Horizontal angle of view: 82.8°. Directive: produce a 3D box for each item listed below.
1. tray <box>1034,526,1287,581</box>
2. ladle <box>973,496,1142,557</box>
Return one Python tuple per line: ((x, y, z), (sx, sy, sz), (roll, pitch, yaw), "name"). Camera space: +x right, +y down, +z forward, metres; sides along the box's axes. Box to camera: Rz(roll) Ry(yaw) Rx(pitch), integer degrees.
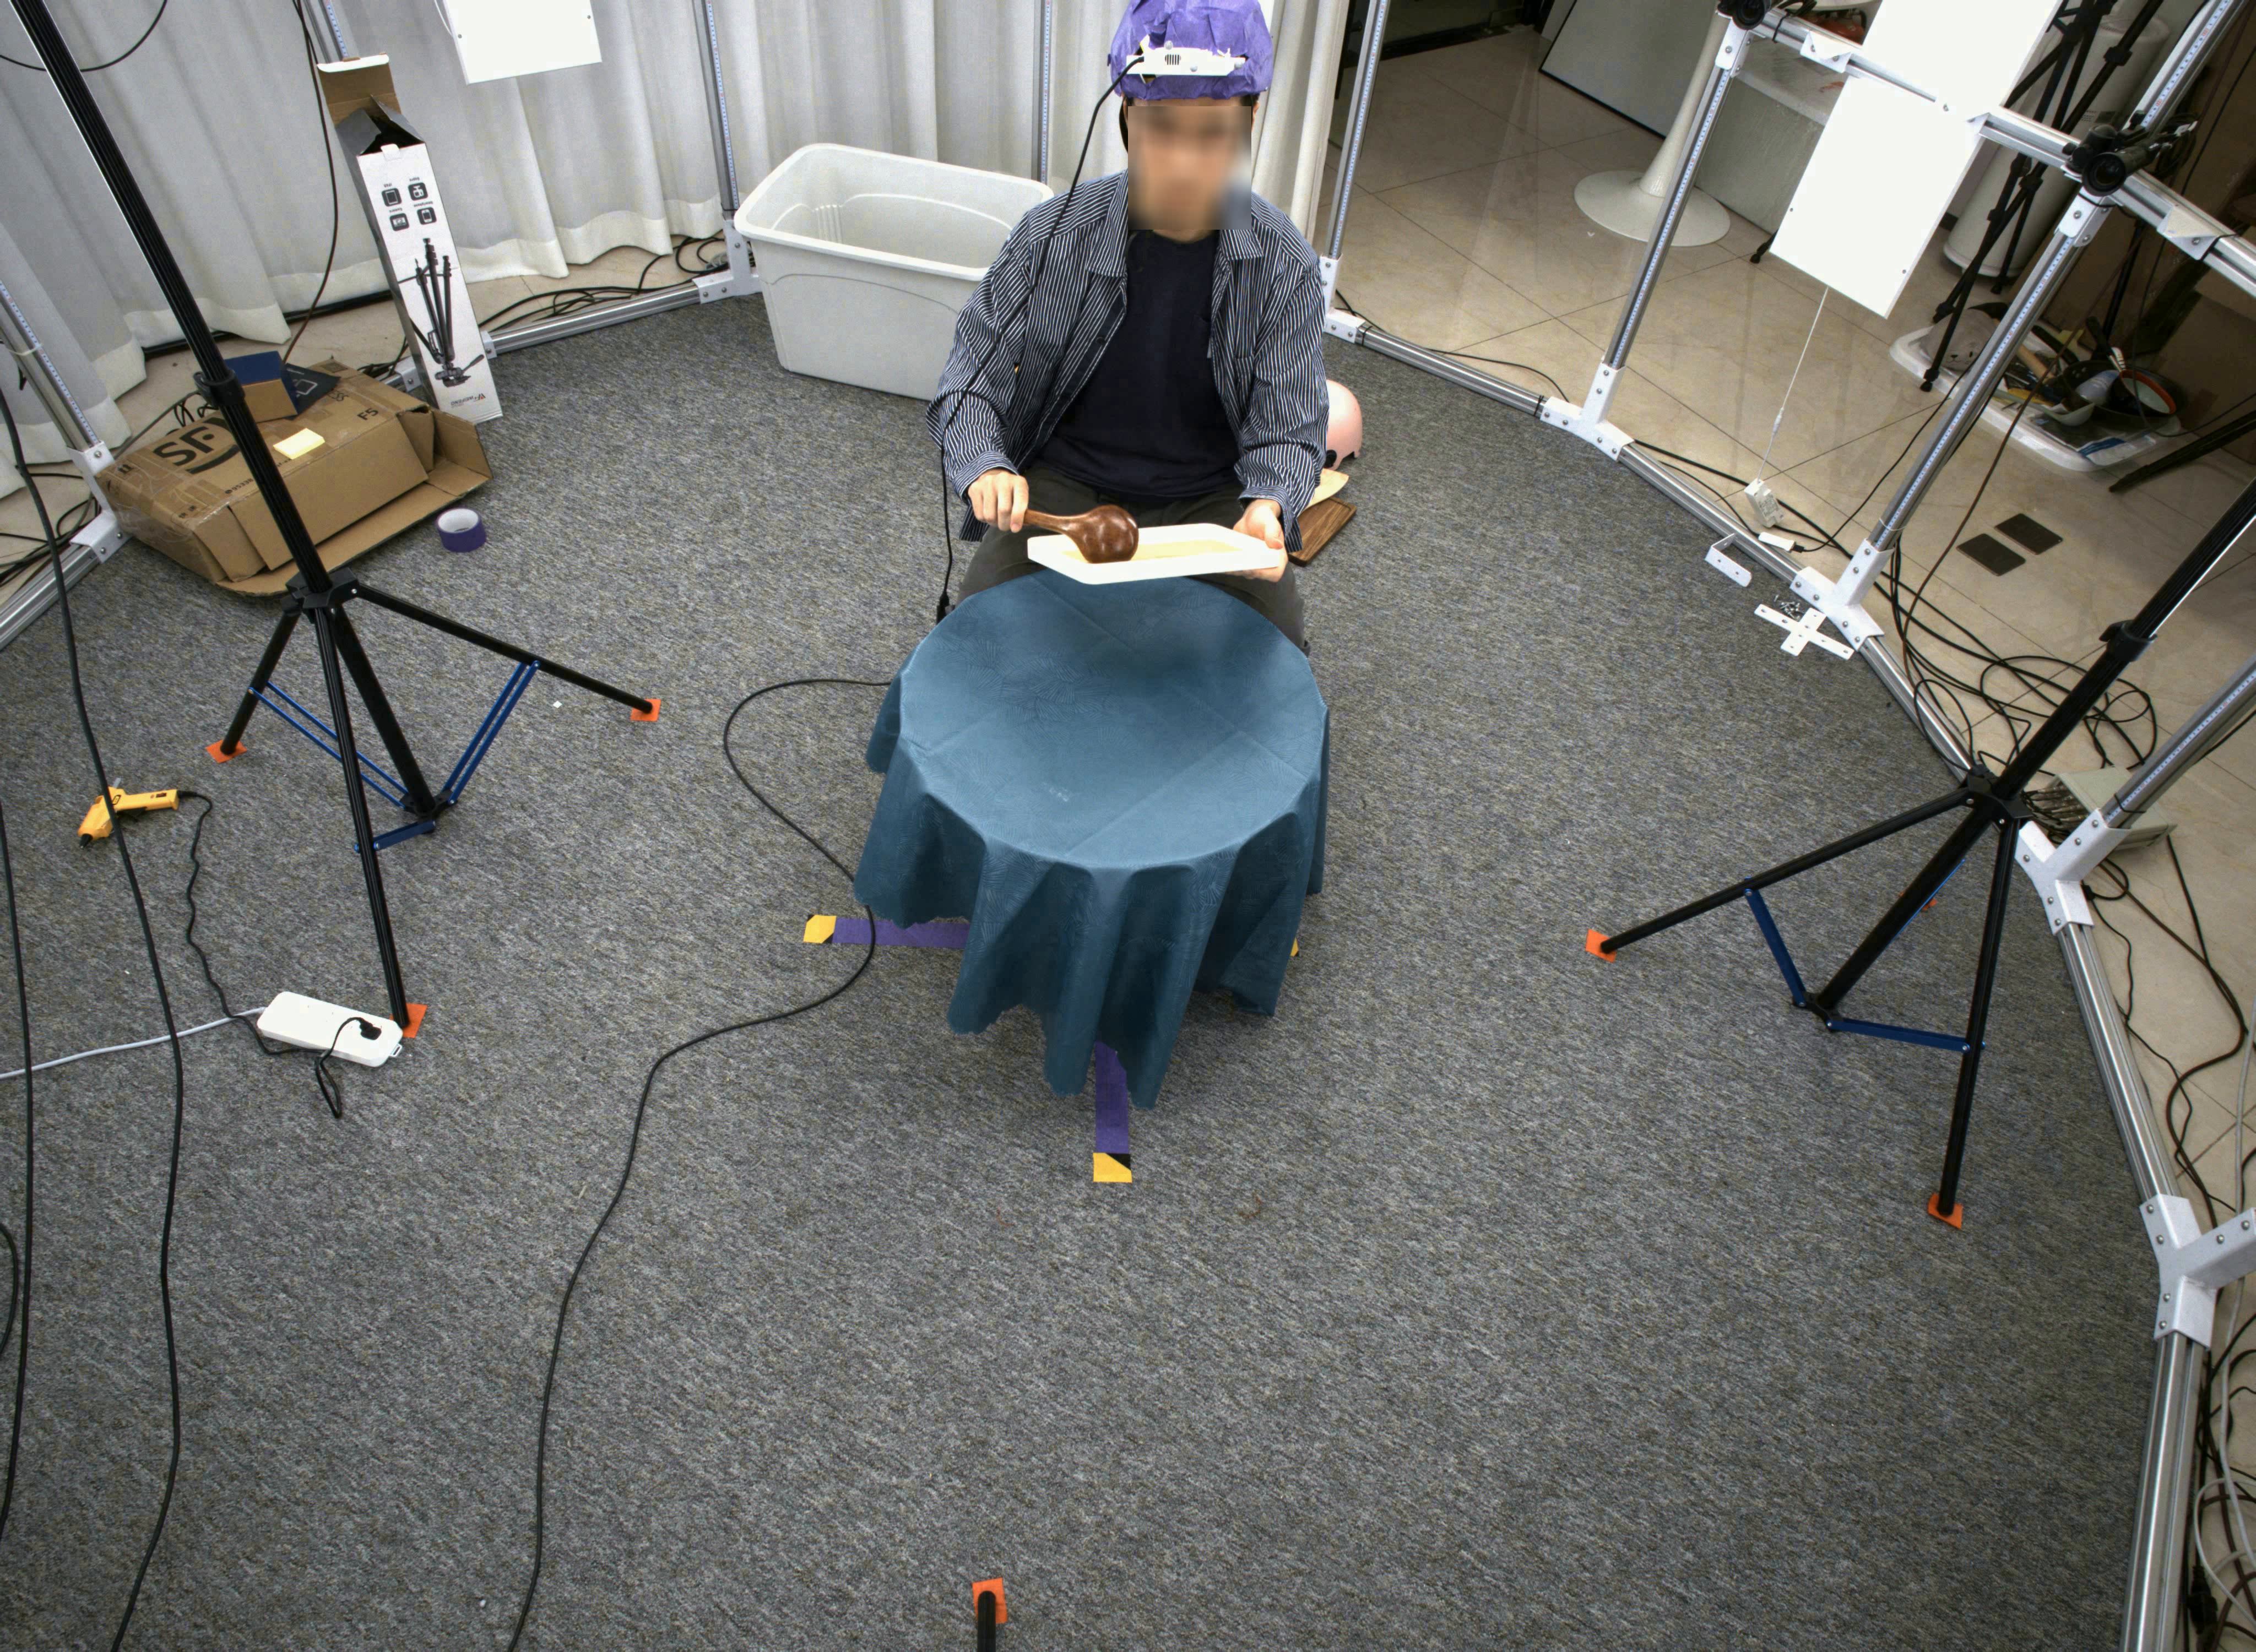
((0.043, -0.369, 1.731), (0.300, 0.027, 0.195), (-10, 25, -27), "tray")
((-0.094, -0.405, 1.713), (0.277, 0.082, 0.075), (22, 1, 43), "ladle")
